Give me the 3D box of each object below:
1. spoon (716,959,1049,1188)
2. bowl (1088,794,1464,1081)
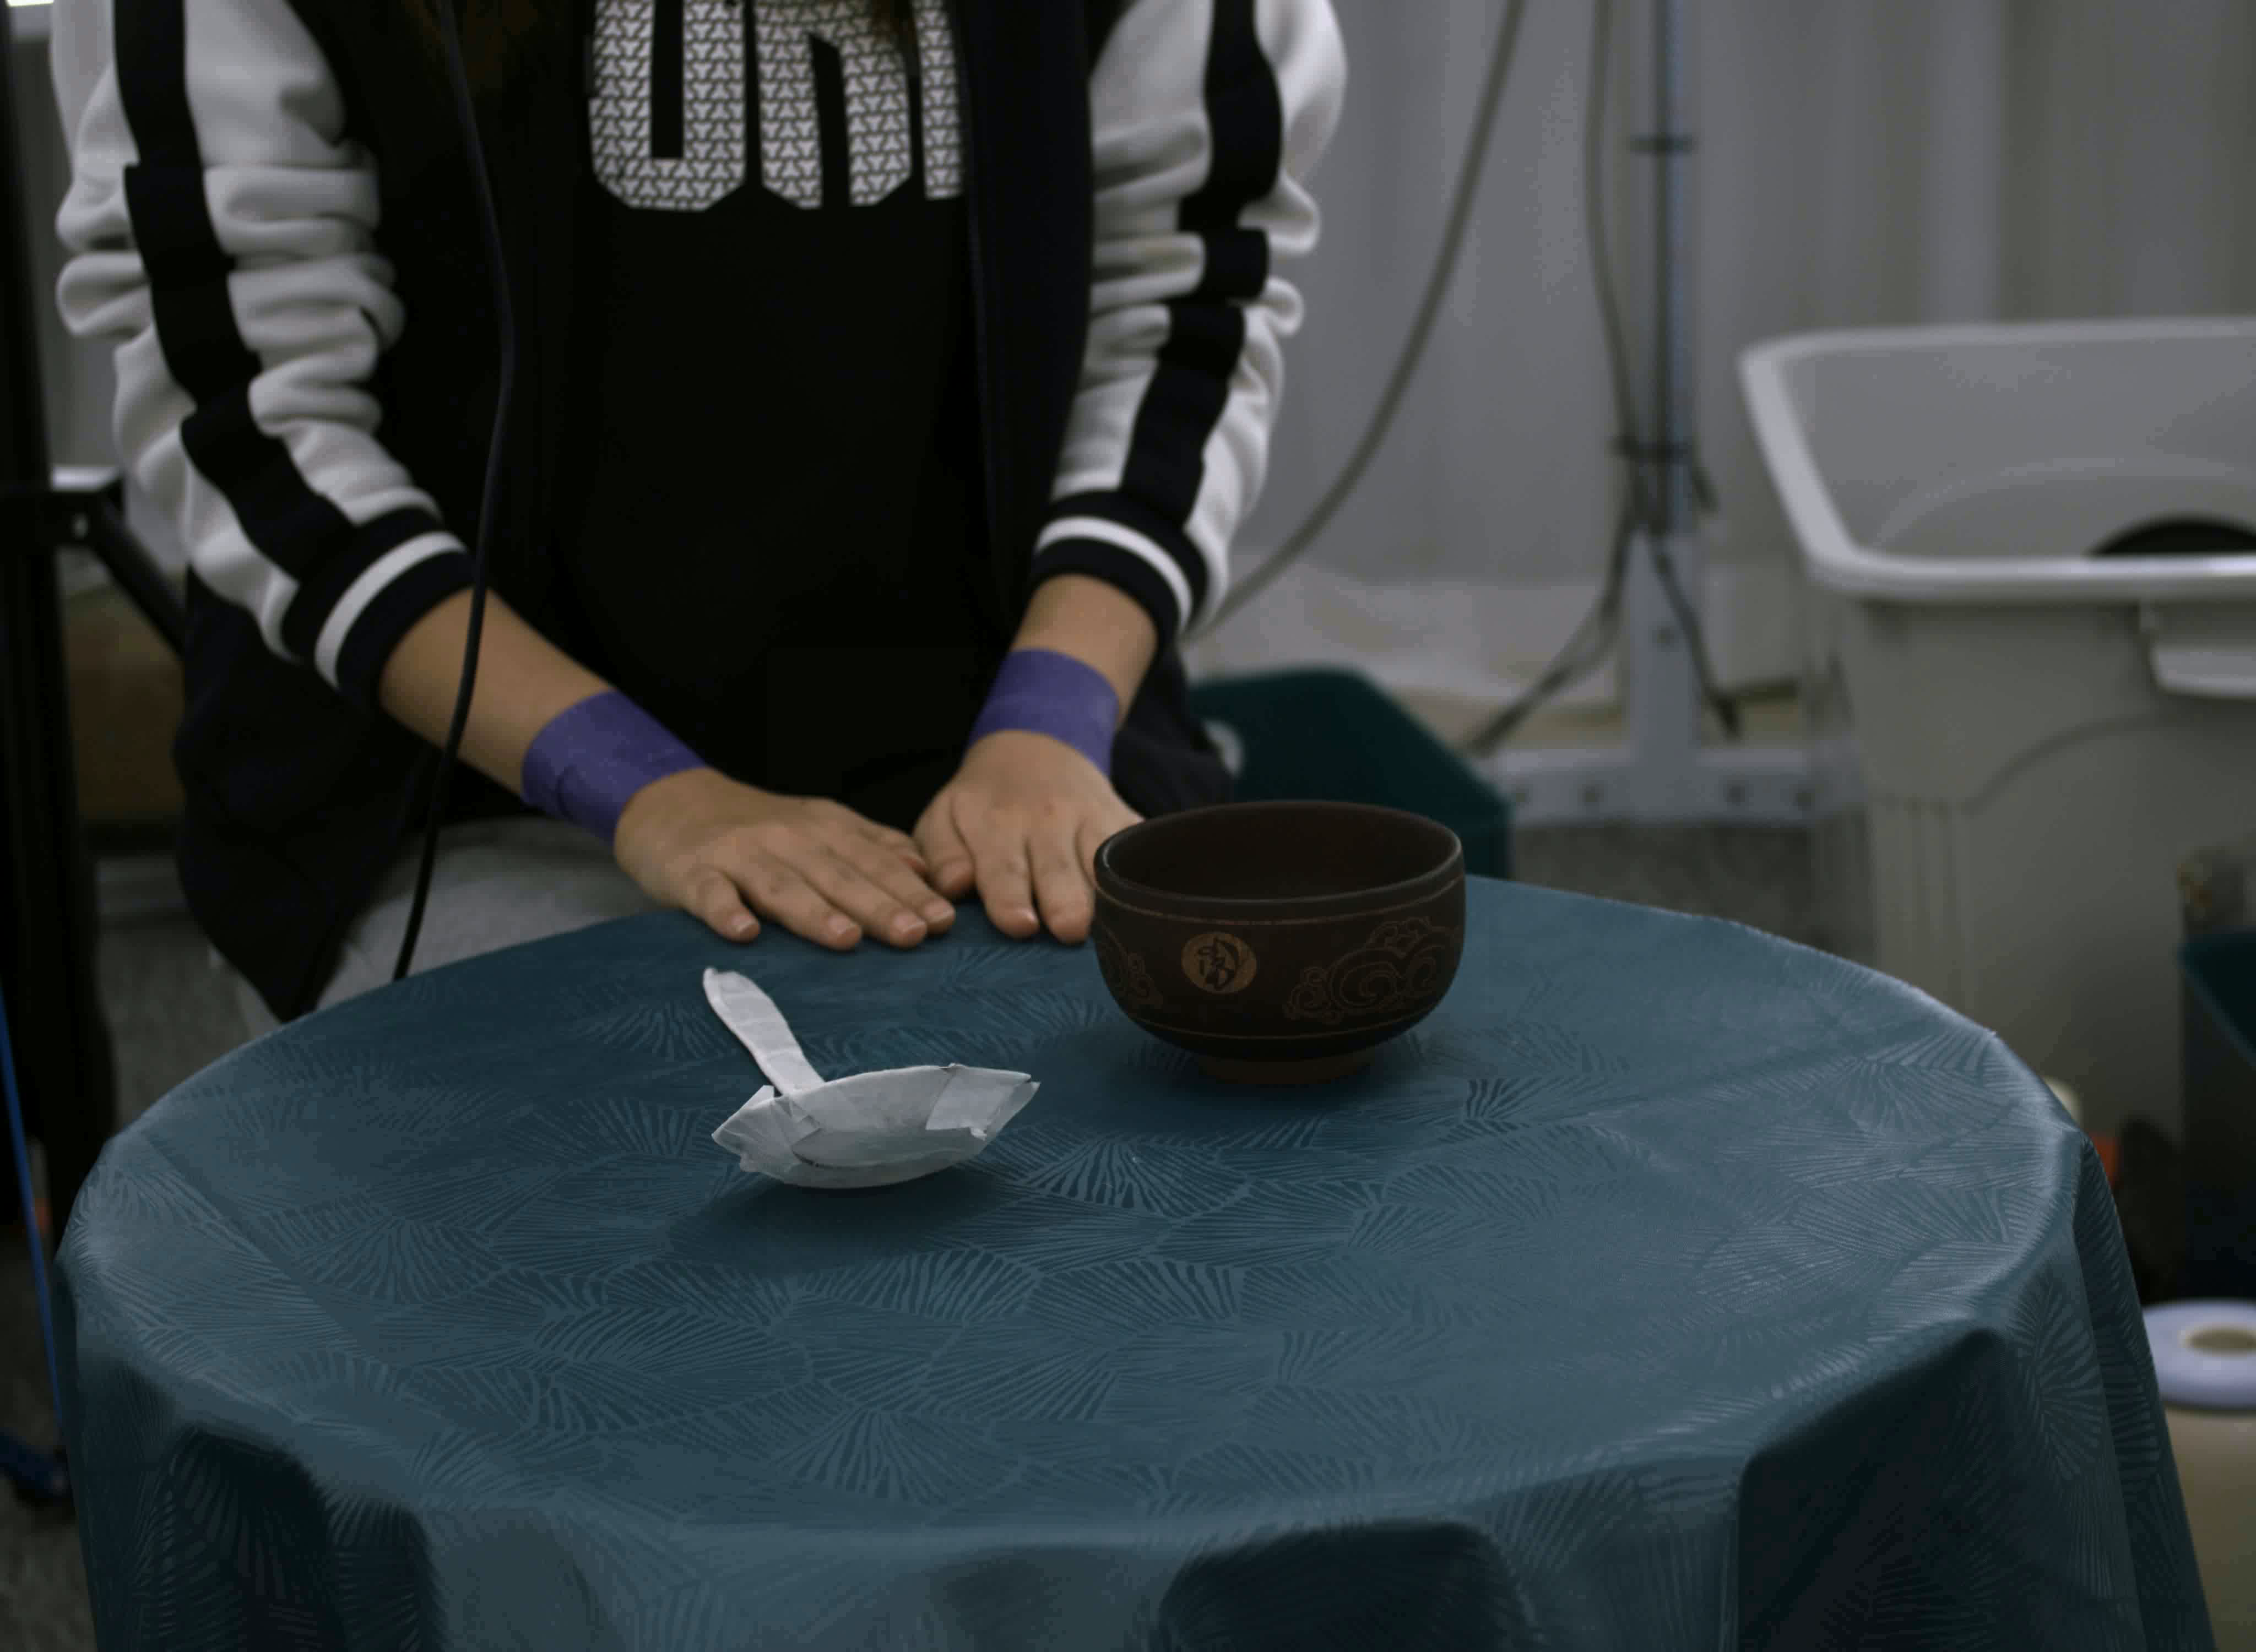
[{"bbox_3d":[-0.092,0.058,1.644,0.099,0.059,0.281,-2,15,-12],"label":"spoon"},{"bbox_3d":[0.047,0.039,1.662,0.117,0.070,0.118,-2,16,-1],"label":"bowl"}]
